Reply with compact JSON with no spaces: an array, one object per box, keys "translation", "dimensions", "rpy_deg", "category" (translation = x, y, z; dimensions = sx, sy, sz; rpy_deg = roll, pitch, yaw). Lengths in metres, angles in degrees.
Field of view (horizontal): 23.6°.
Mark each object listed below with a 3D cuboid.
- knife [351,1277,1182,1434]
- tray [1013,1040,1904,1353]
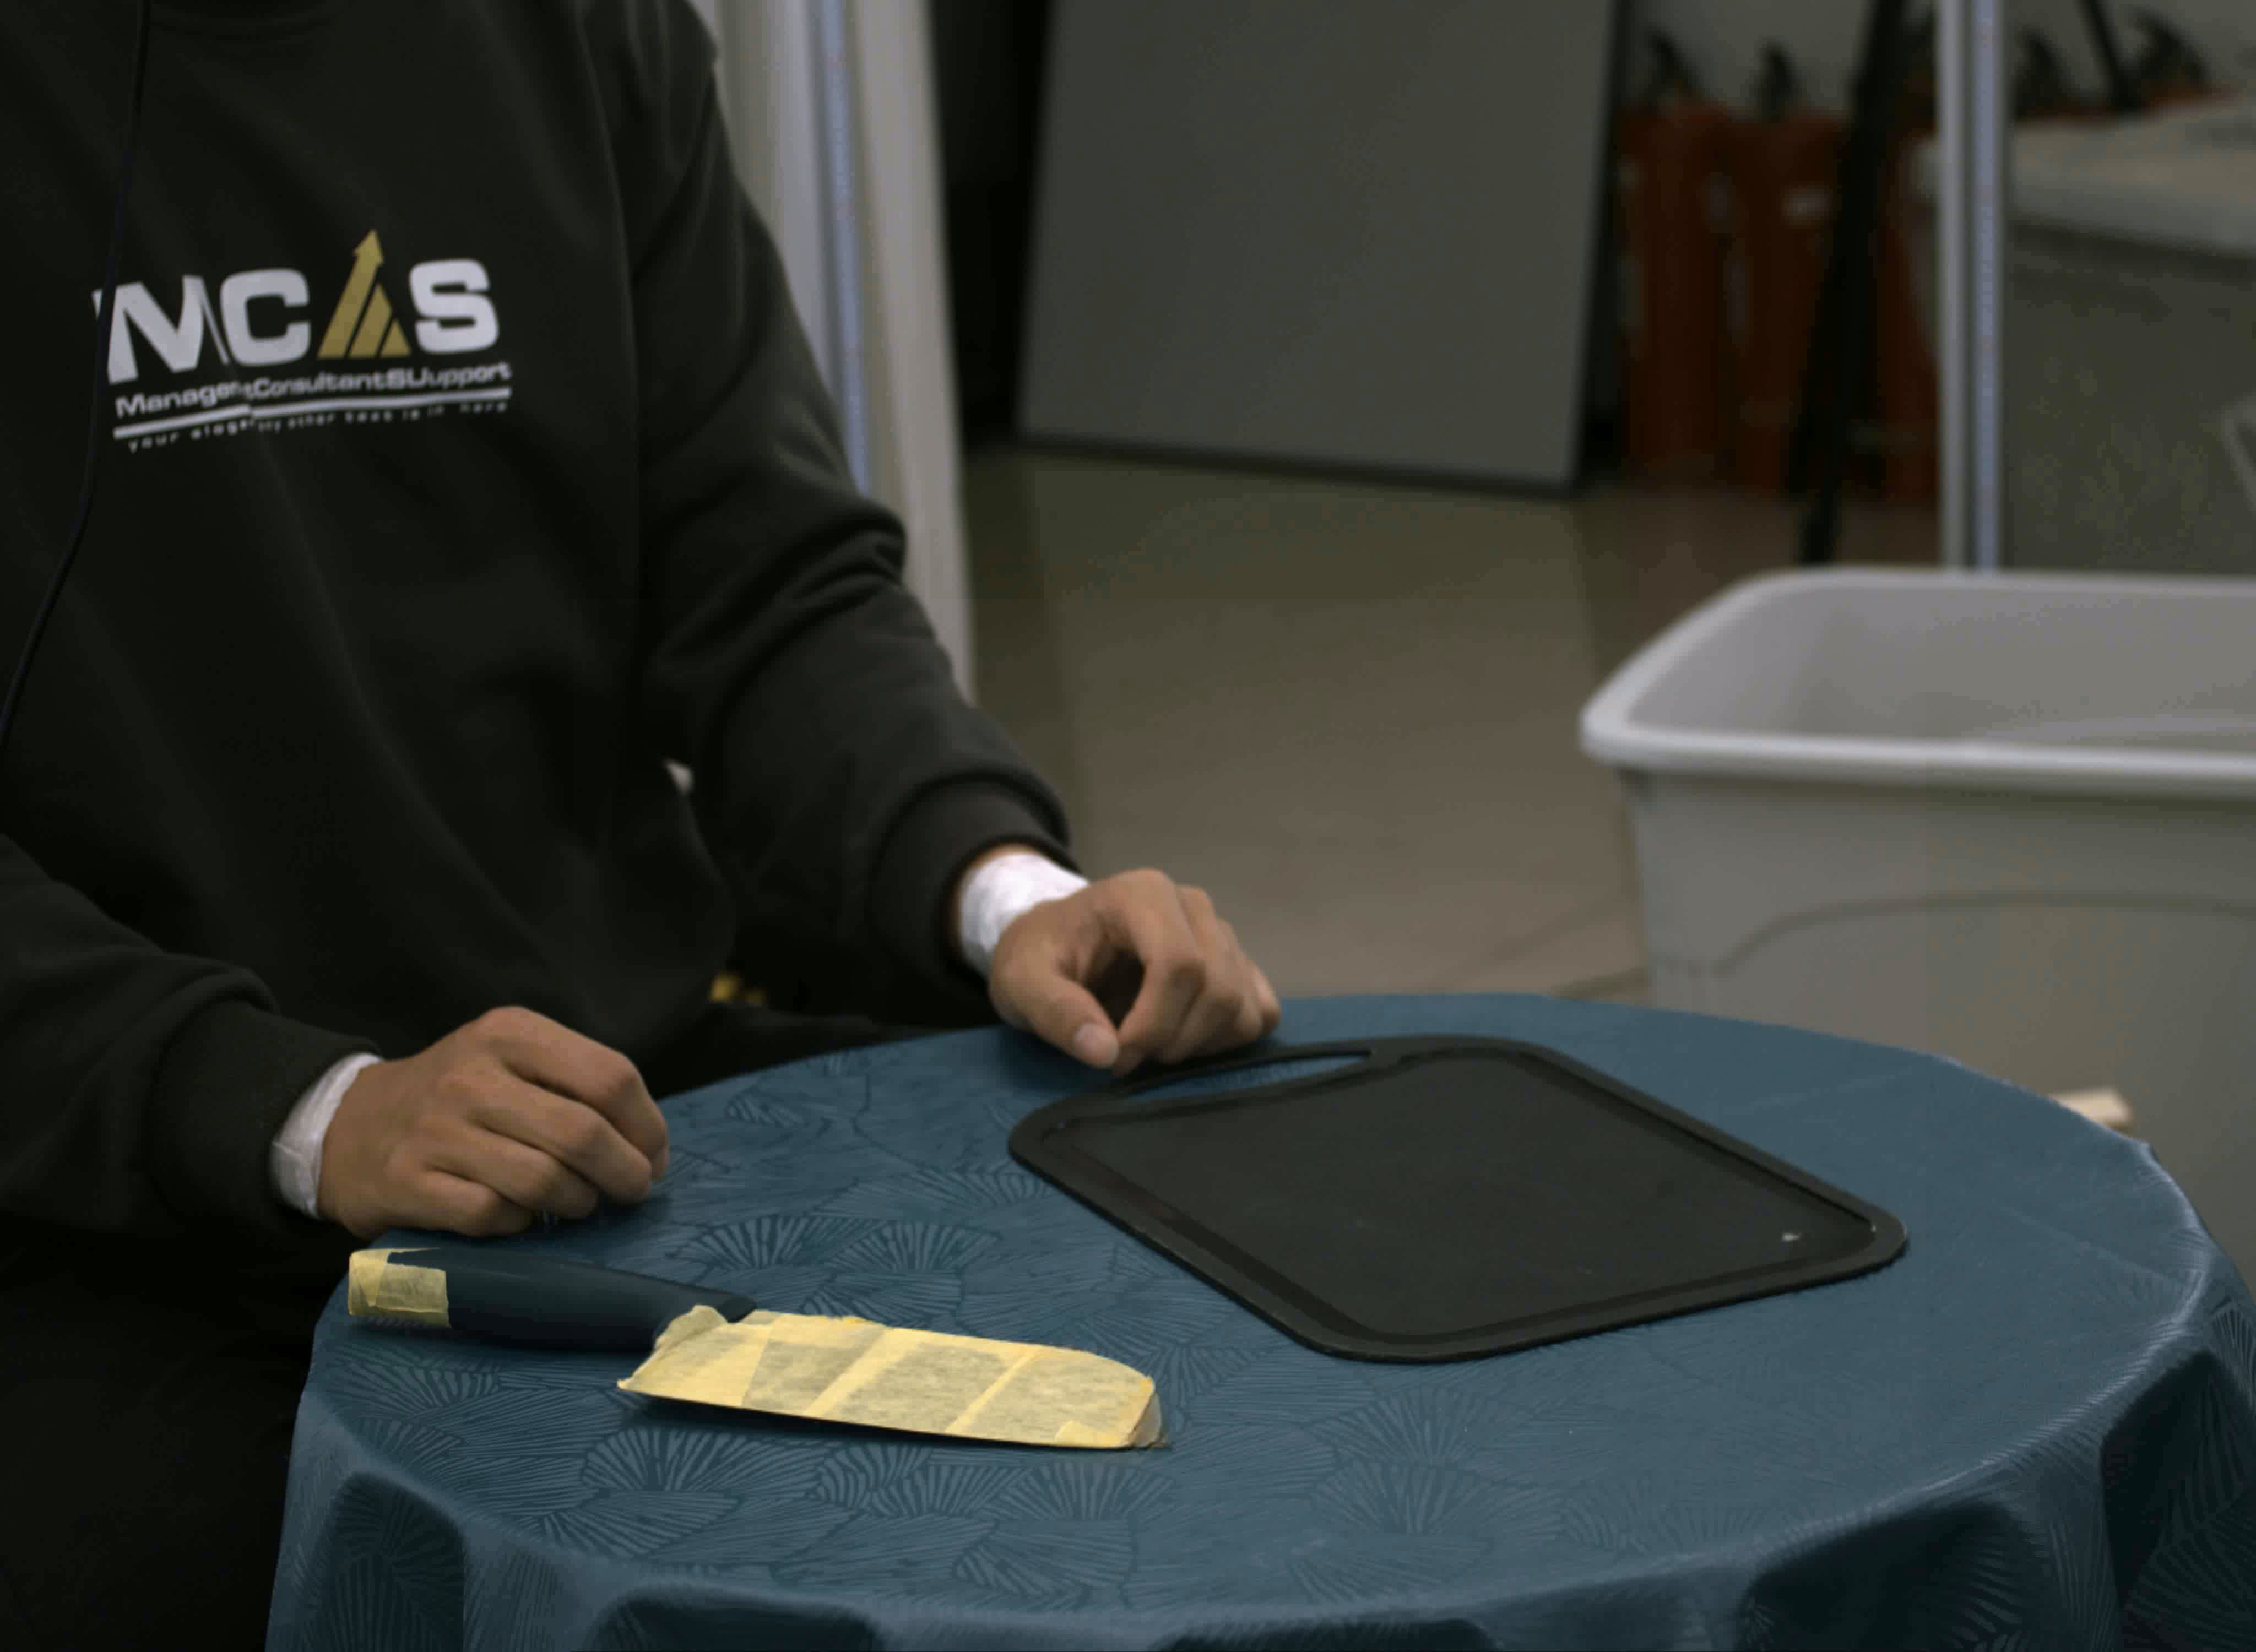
[{"translation":[-0.115,0.161,1.615],"dimensions":[0.290,0.027,0.080],"rpy_deg":[3,14,26],"category":"knife"},{"translation":[0.097,0.114,1.760],"dimensions":[0.206,0.010,0.328],"rpy_deg":[-10,14,-22],"category":"tray"}]
